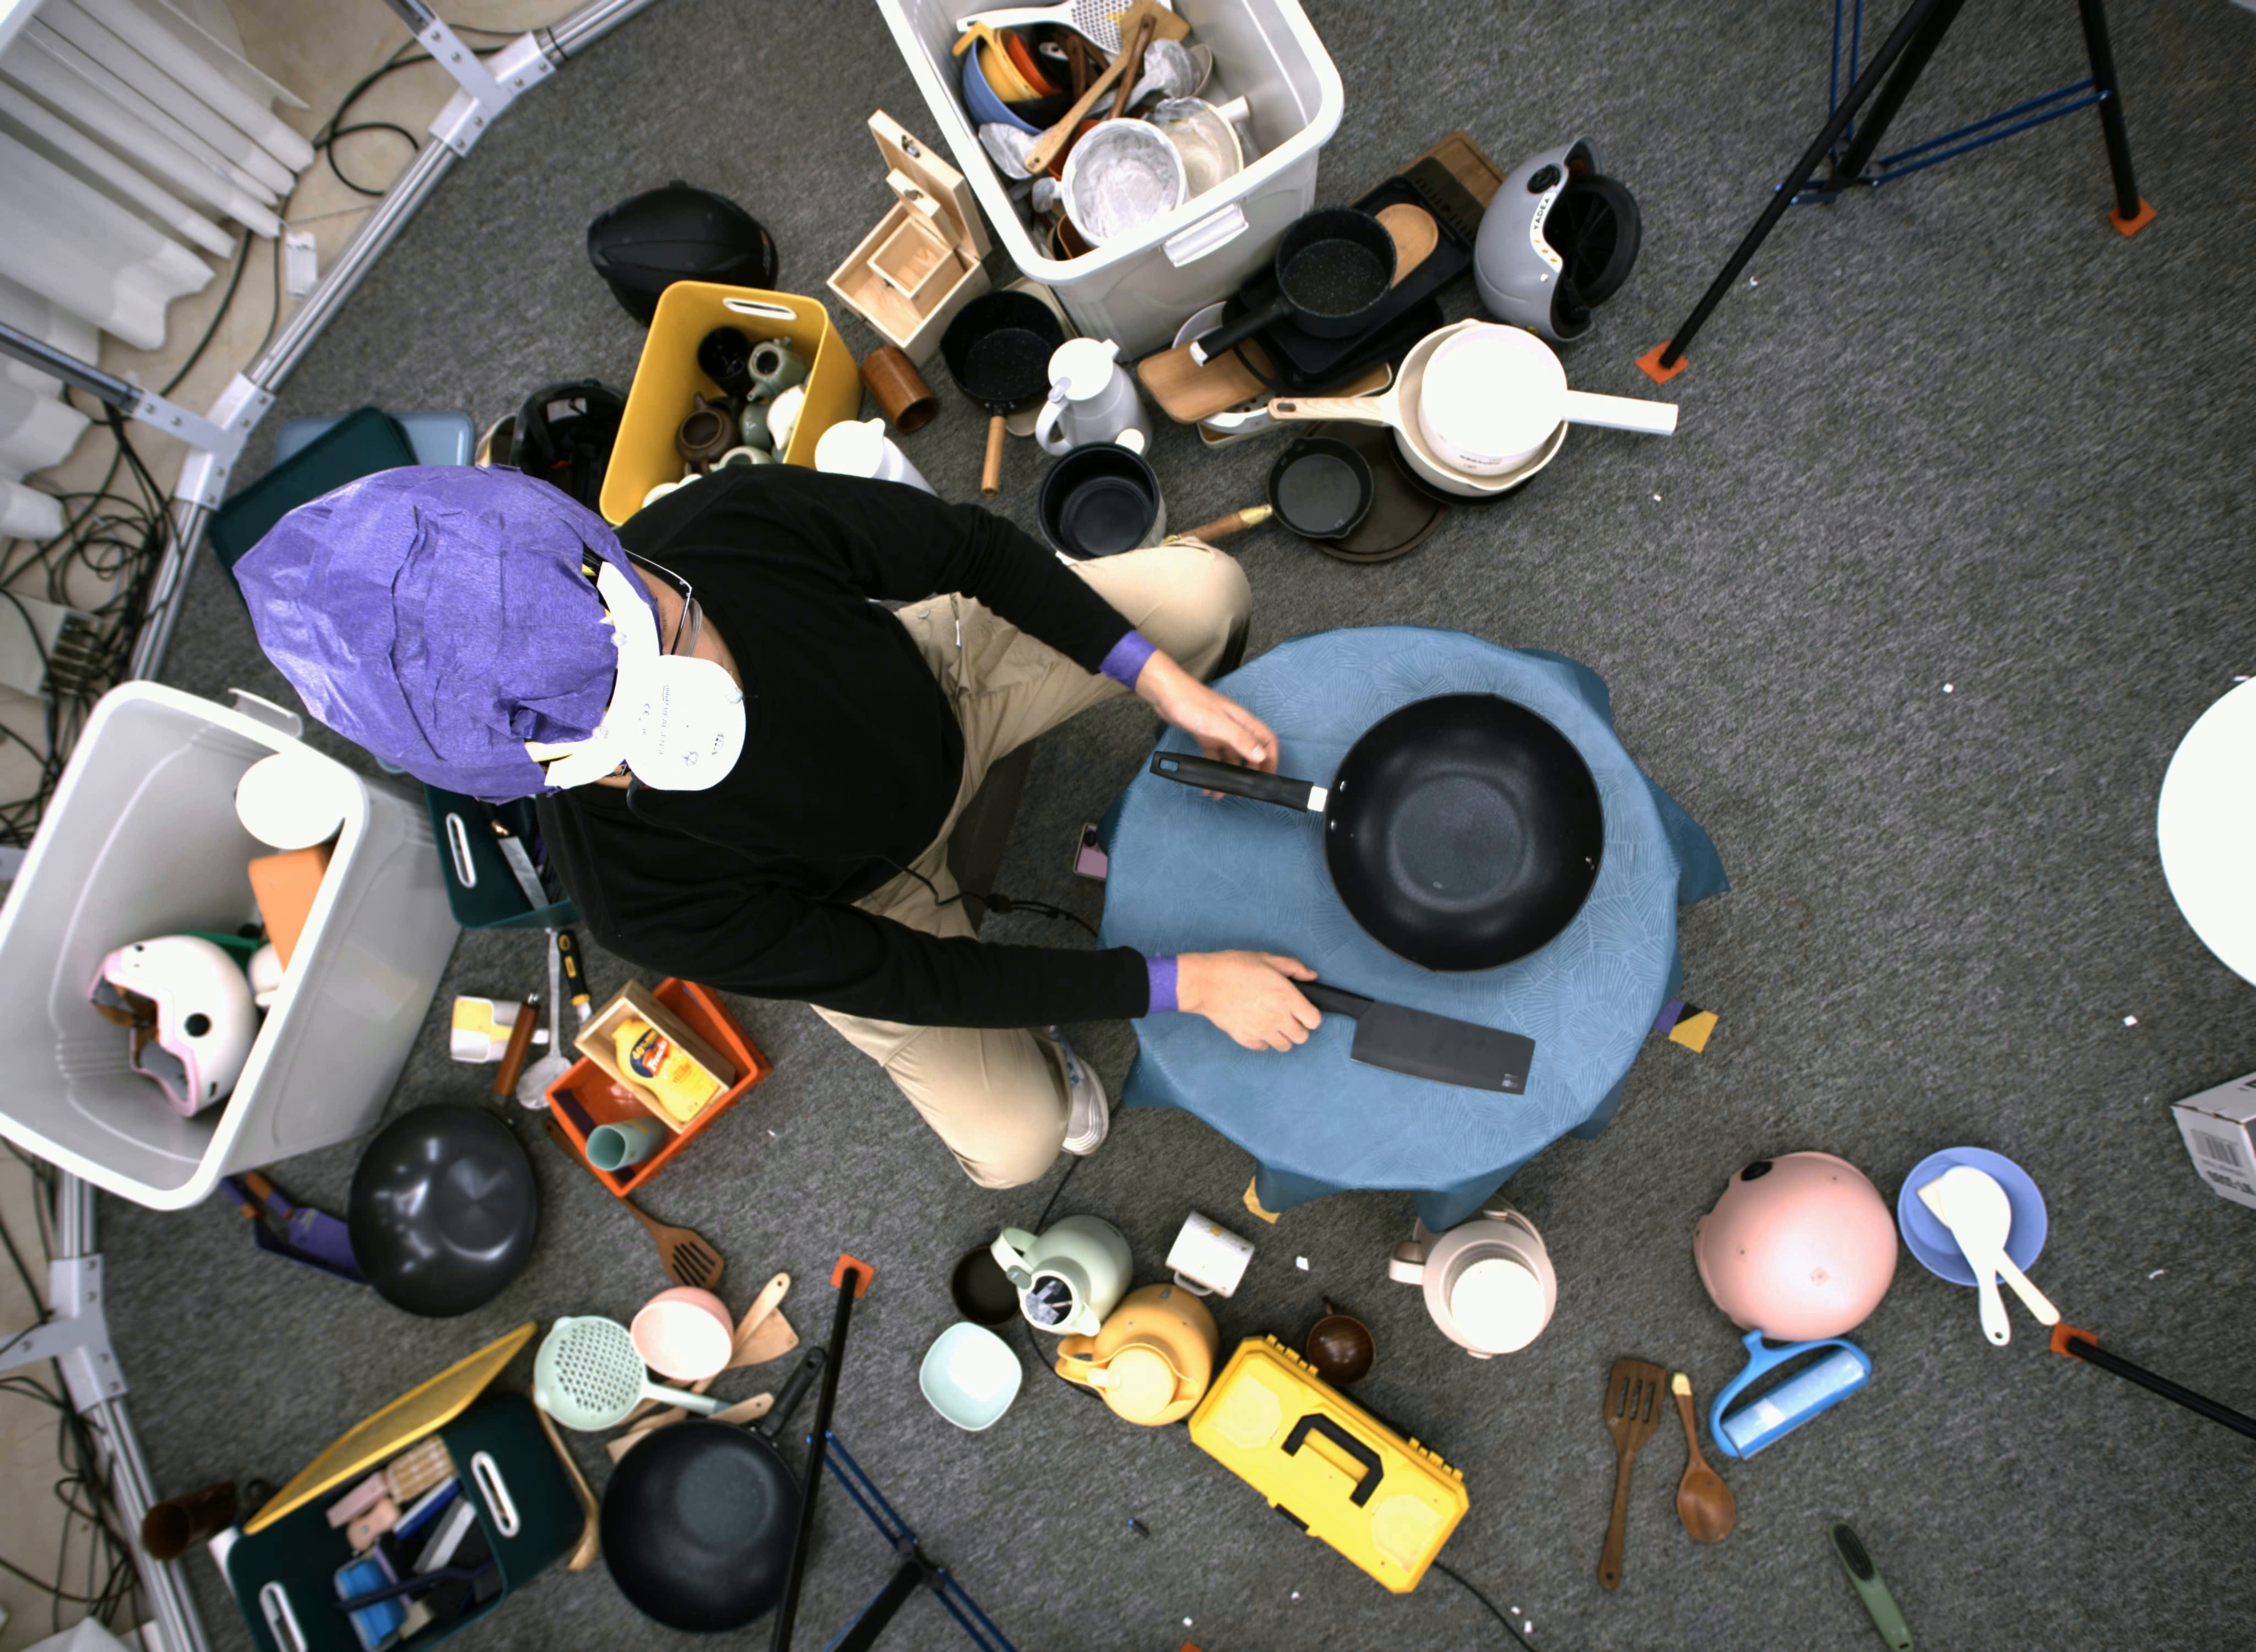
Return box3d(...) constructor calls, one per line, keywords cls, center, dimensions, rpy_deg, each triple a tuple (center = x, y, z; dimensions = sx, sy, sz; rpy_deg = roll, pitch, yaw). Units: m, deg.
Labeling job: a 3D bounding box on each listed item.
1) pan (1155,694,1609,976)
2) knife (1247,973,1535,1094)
box3d(cls="pan", center=(0.255, -0.012, 1.427), dimensions=(0.464, 0.087, 0.288), rpy_deg=(14, 90, 12))
box3d(cls="knife", center=(0.272, 0.212, 1.447), dimensions=(0.302, 0.021, 0.081), rpy_deg=(17, 91, 9))
